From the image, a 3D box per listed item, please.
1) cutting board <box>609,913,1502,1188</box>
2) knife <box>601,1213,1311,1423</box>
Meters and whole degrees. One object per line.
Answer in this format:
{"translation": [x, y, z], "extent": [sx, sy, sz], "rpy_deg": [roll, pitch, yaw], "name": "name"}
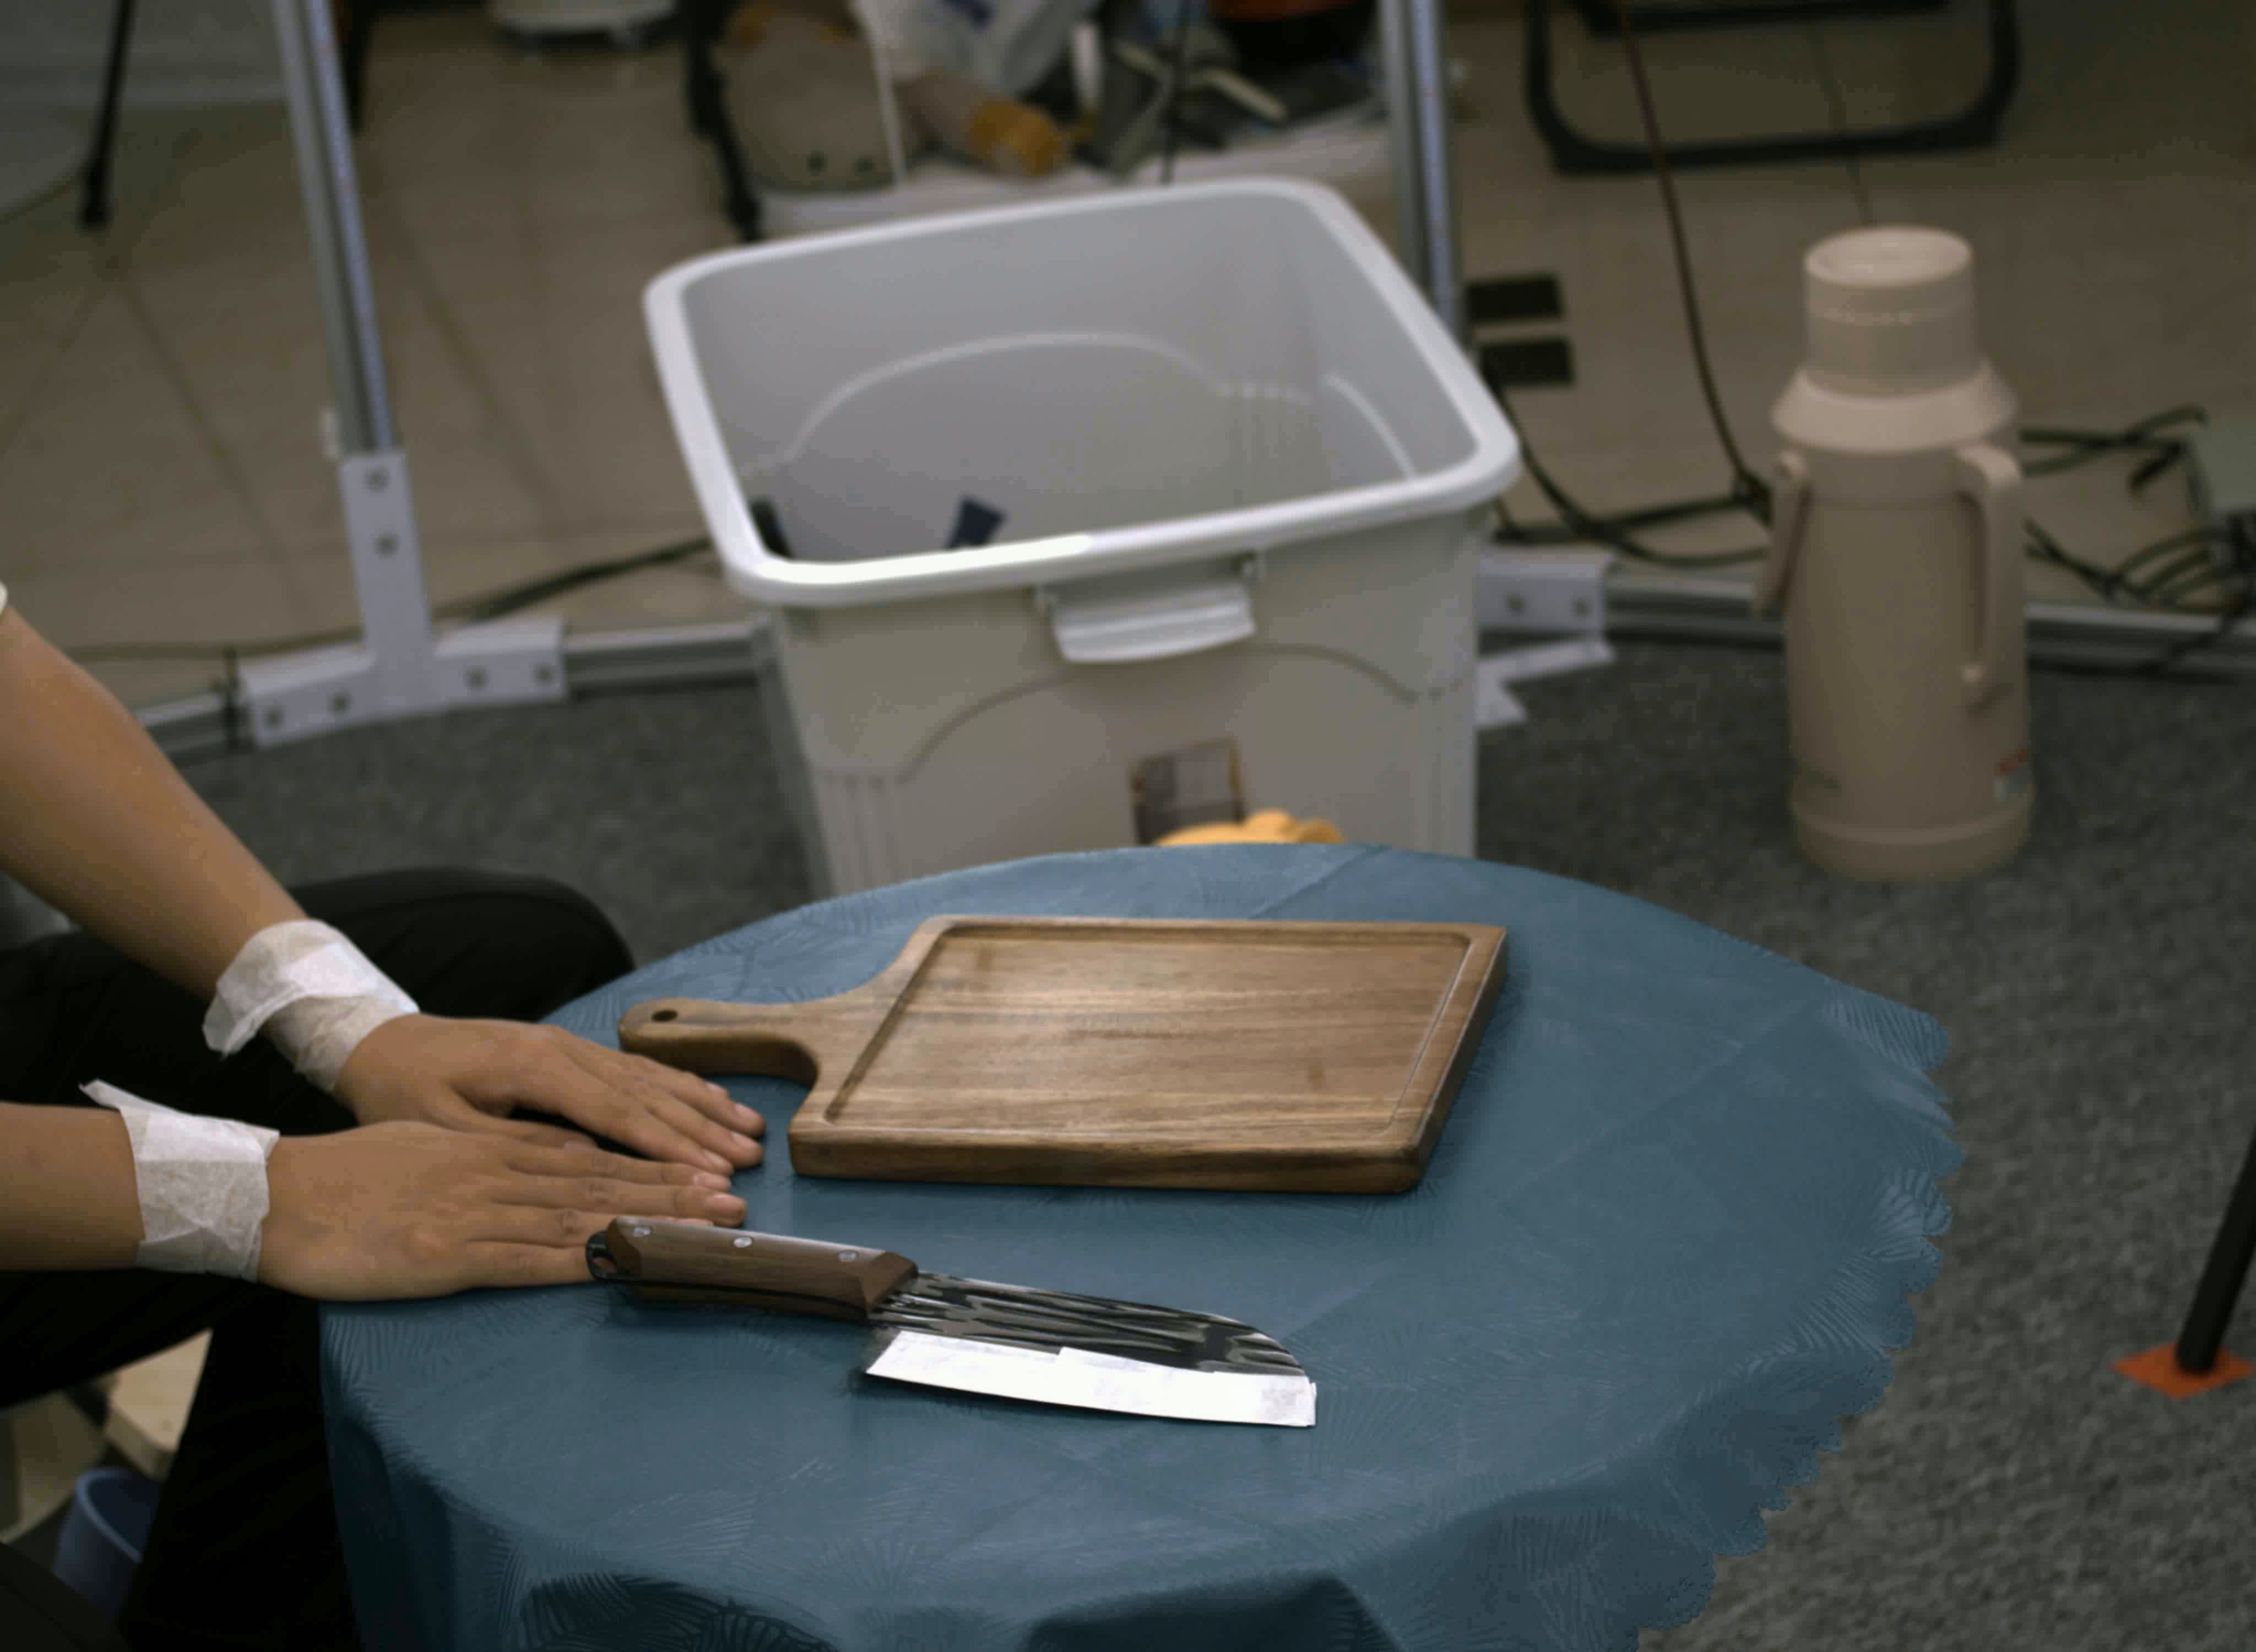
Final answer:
{"translation": [-0.039, 0.085, 2.251], "extent": [0.351, 0.023, 0.198], "rpy_deg": [1, 26, 16], "name": "cutting board"}
{"translation": [-0.067, 0.180, 2.056], "extent": [0.298, 0.024, 0.067], "rpy_deg": [7, 31, 21], "name": "knife"}
